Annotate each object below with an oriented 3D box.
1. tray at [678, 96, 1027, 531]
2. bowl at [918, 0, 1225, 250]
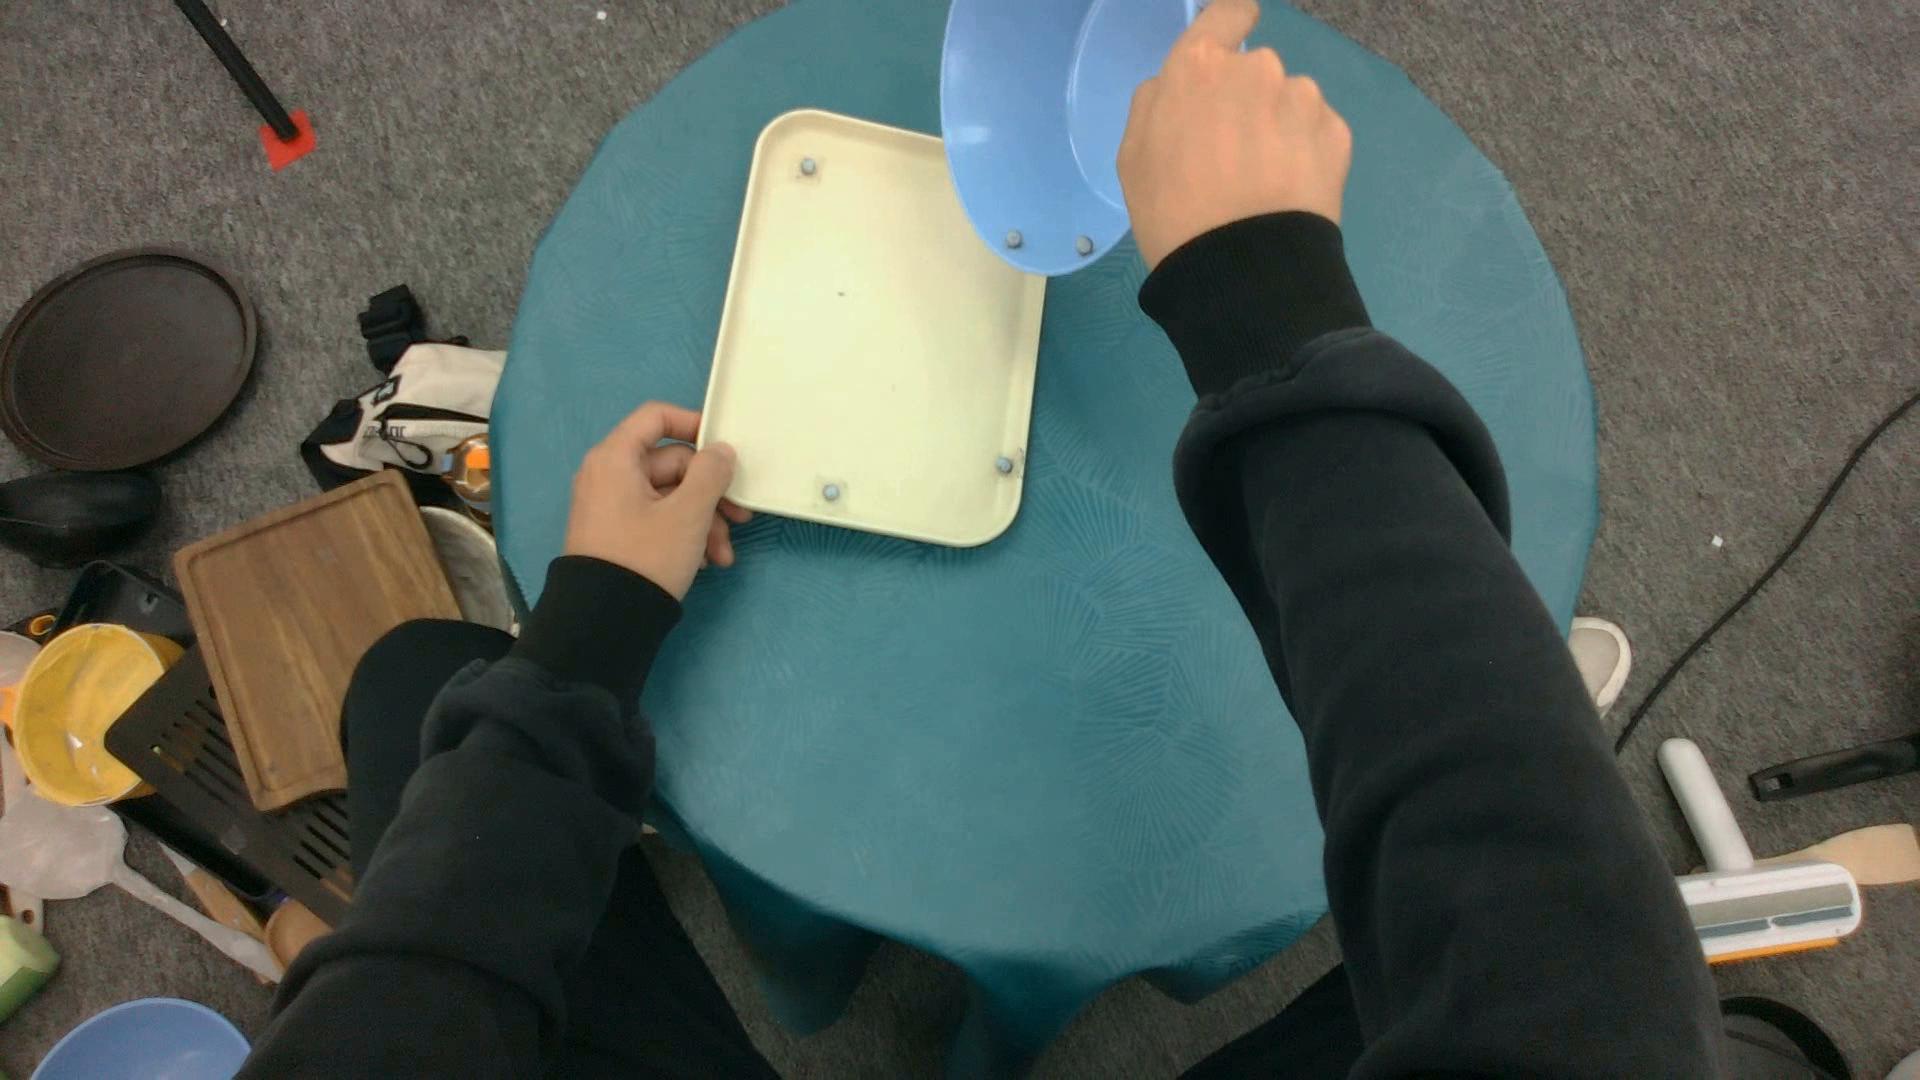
[{"bbox_3d":[-0.052,-0.124,0.743,0.171,0.017,0.240,10,71,-9],"label":"tray"},{"bbox_3d":[0.057,-0.223,0.633,0.070,0.175,0.176,-10,69,-36],"label":"bowl"}]
